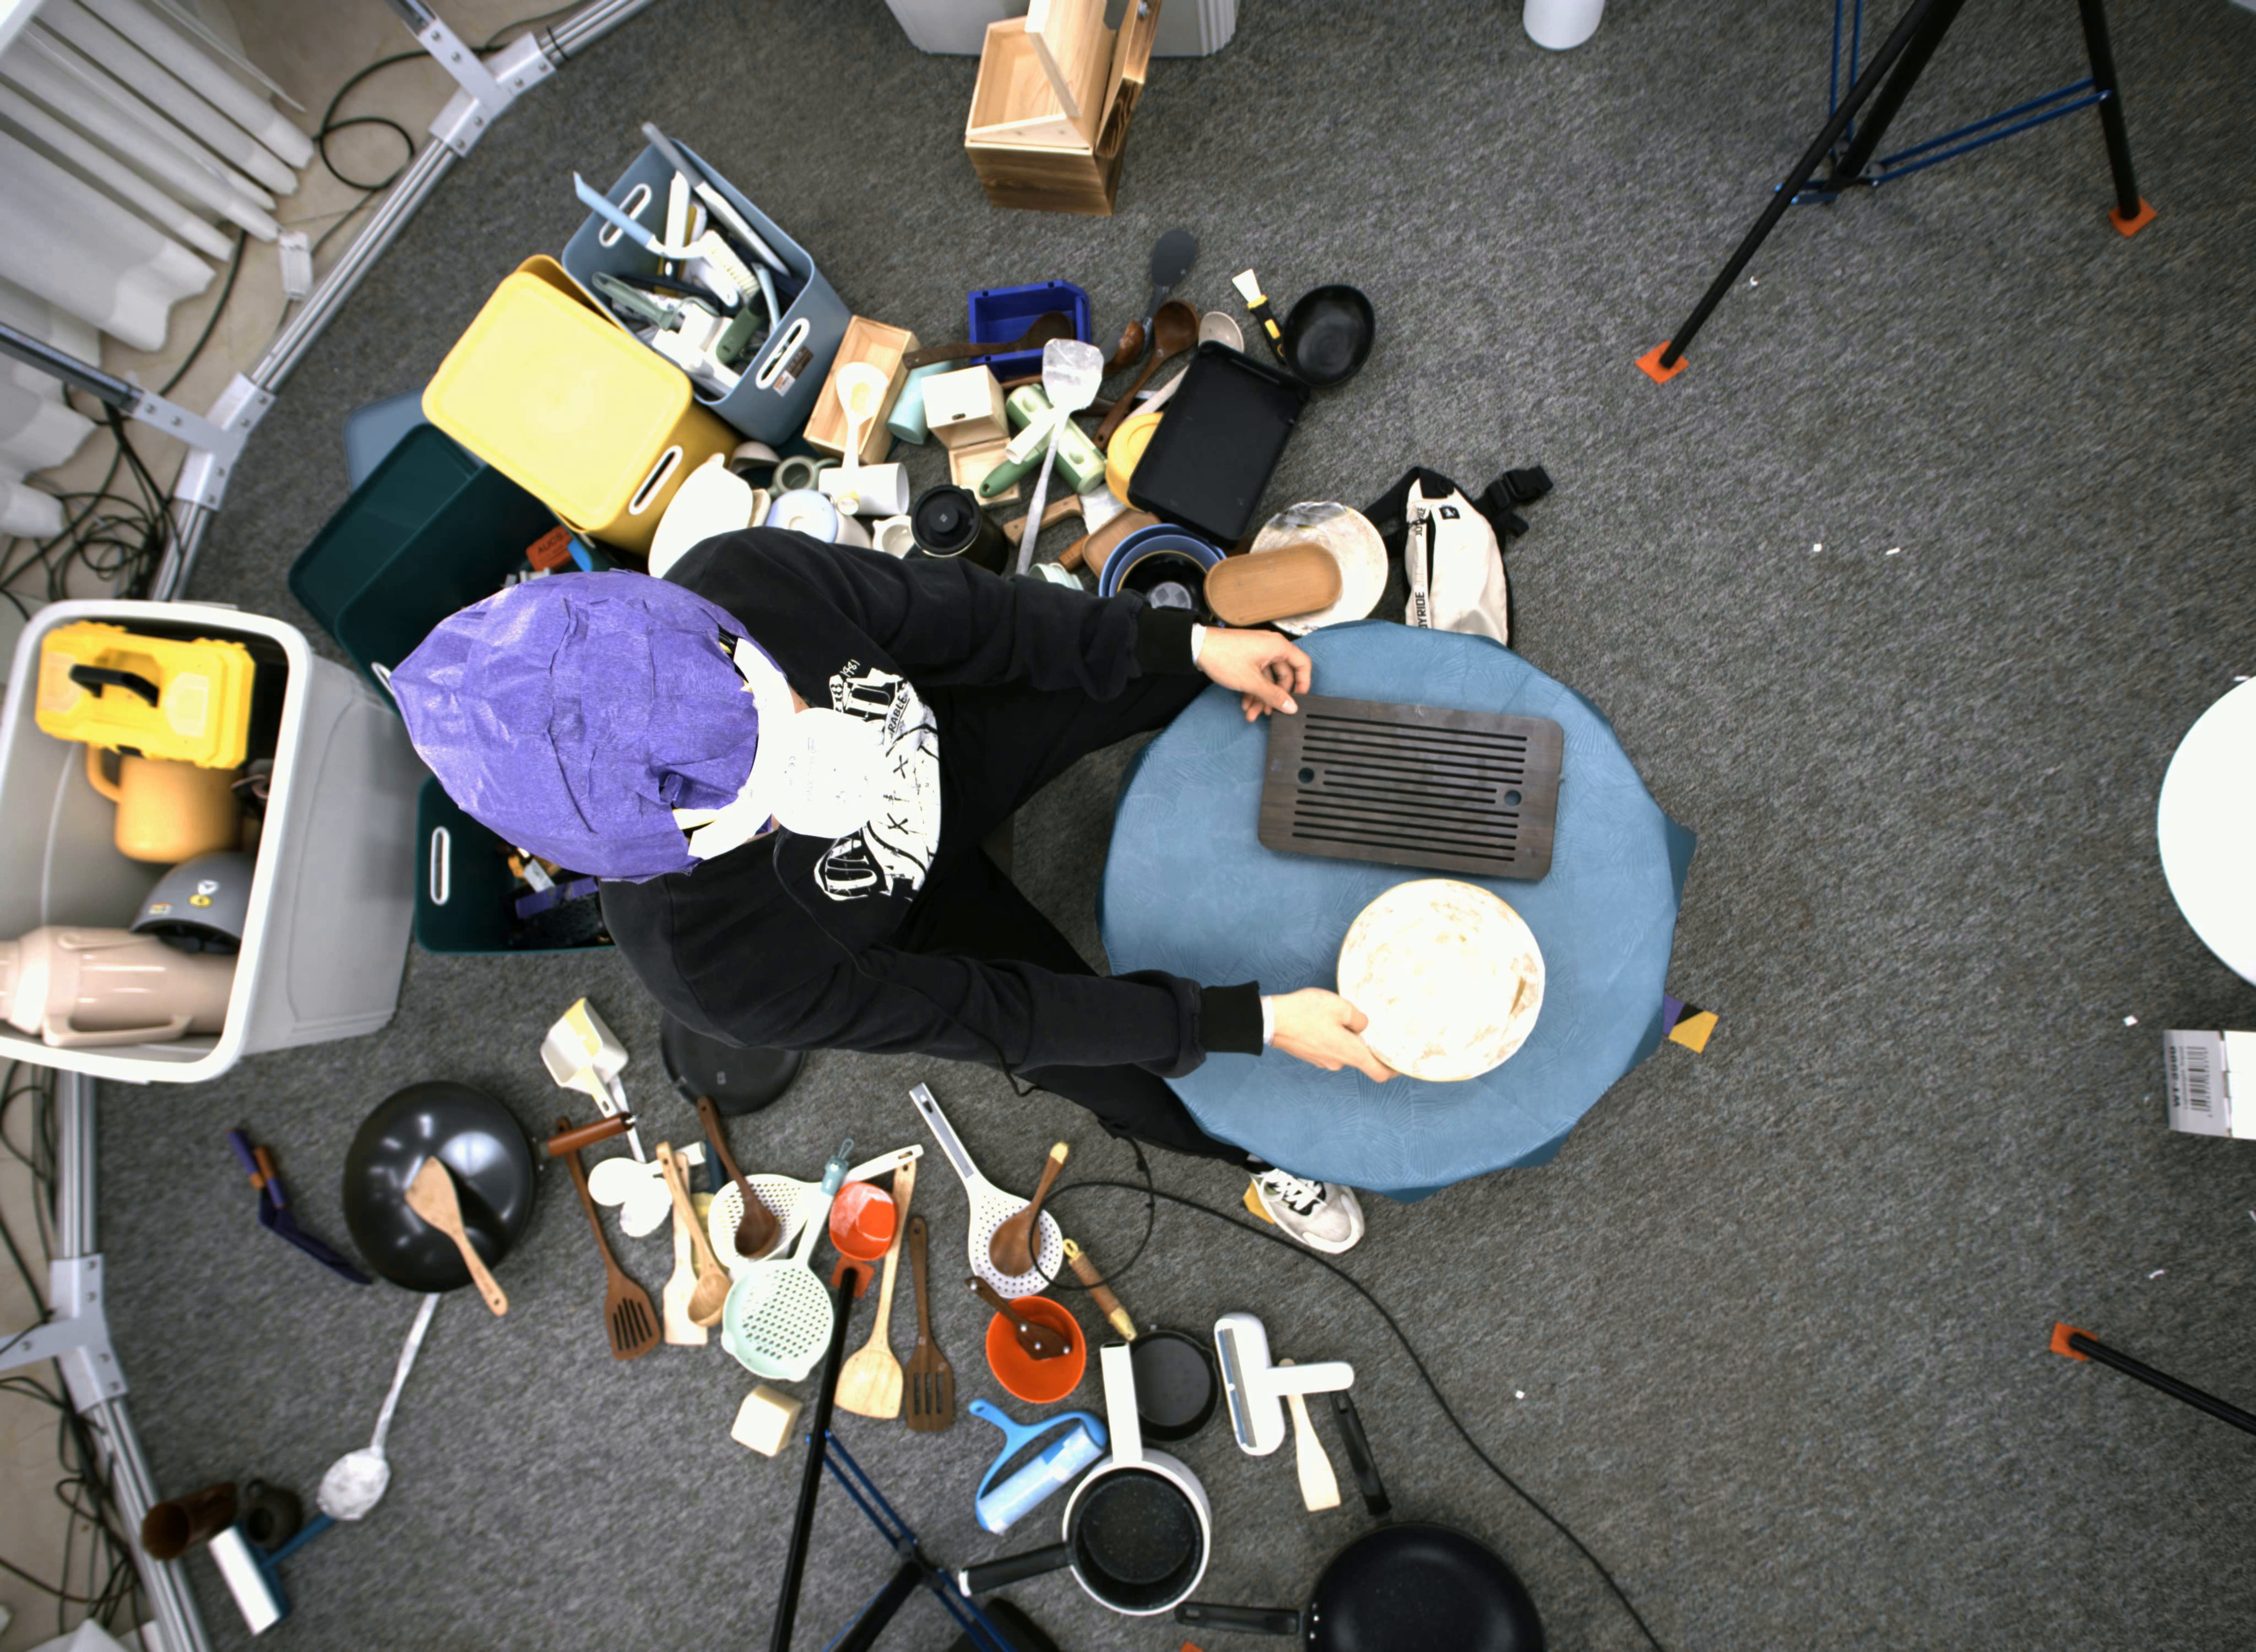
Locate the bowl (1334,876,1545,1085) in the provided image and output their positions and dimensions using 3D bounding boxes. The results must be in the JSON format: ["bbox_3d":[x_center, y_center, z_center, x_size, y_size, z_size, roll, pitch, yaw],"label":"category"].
[{"bbox_3d":[0.311,0.152,1.402,0.215,0.094,0.214,0,89,8],"label":"bowl"}]

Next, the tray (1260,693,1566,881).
[{"bbox_3d":[0.299,-0.043,1.451,0.306,0.018,0.169,7,88,8],"label":"tray"}]
